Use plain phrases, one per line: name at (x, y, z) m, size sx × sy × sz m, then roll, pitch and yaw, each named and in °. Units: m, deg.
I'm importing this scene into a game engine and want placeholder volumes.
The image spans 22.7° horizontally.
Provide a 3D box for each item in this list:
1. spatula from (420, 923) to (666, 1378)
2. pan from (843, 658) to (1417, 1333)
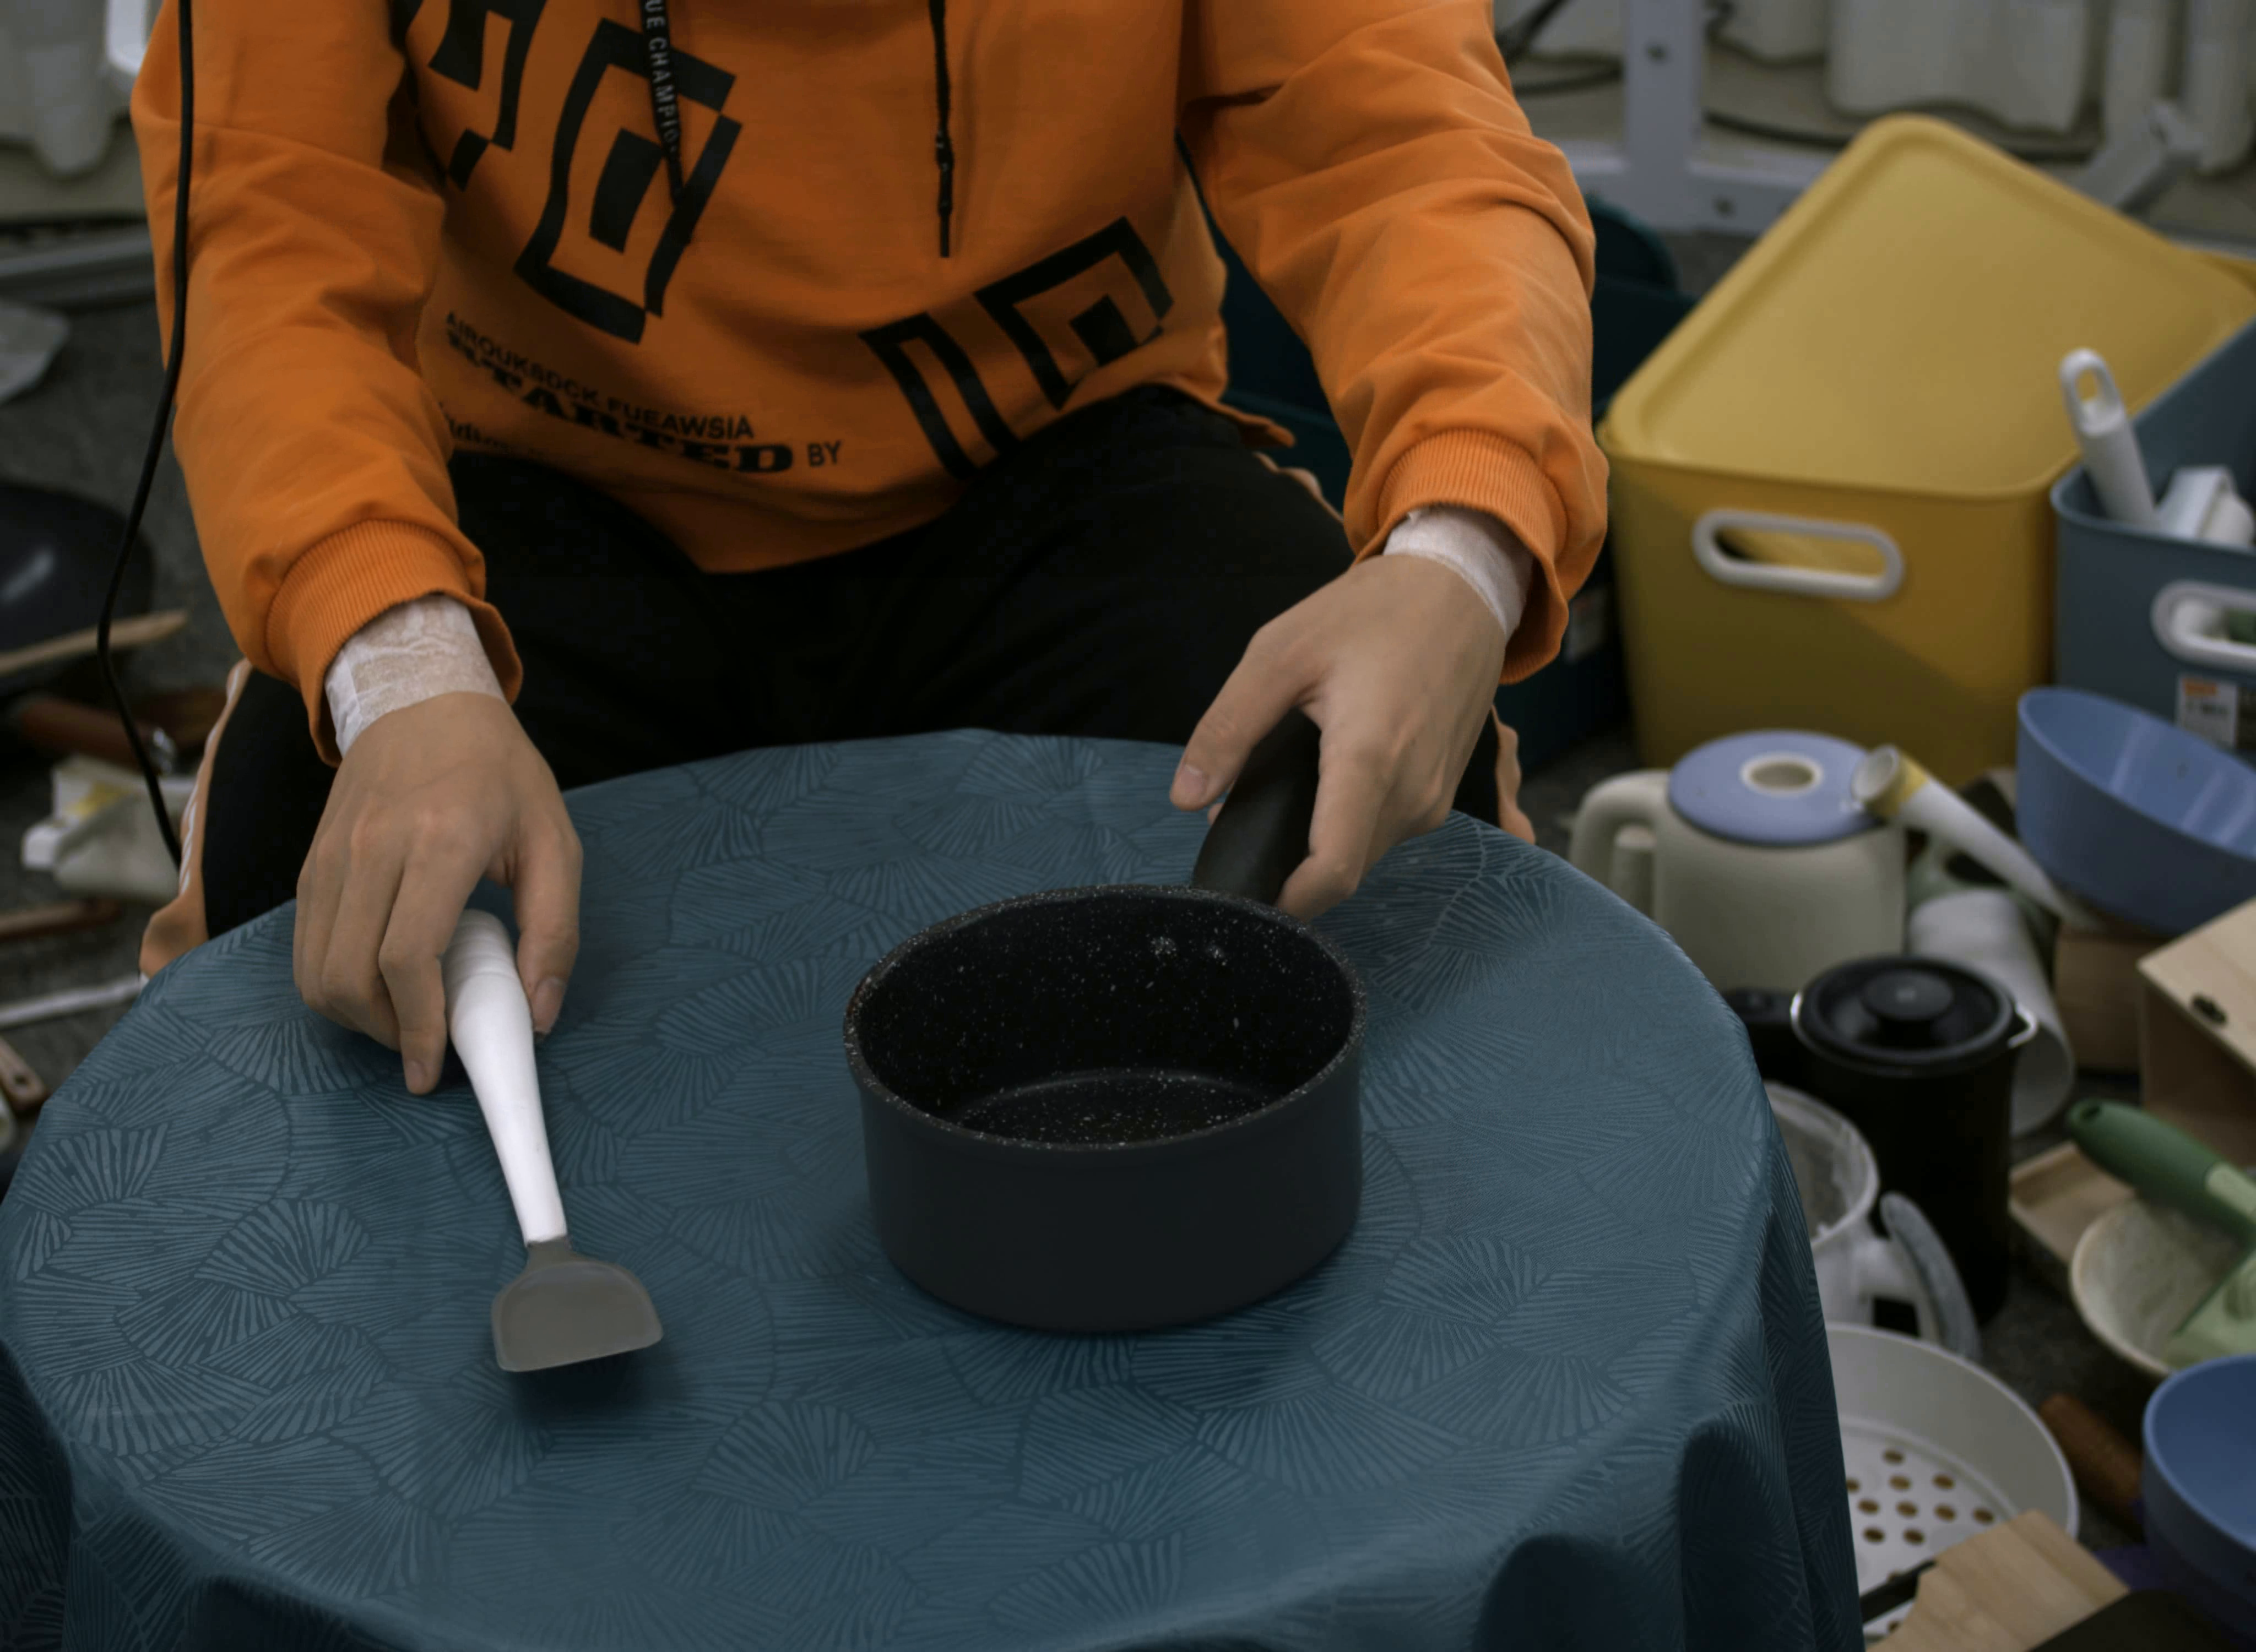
spatula at (-0.201, 0.112, 1.867) m, size 0.058 × 0.032 × 0.291 m, roll -6°, pitch 27°, yaw -12°
pan at (0.025, 0.053, 1.901) m, size 0.171 × 0.085 × 0.334 m, roll 9°, pitch 31°, yaw 21°
